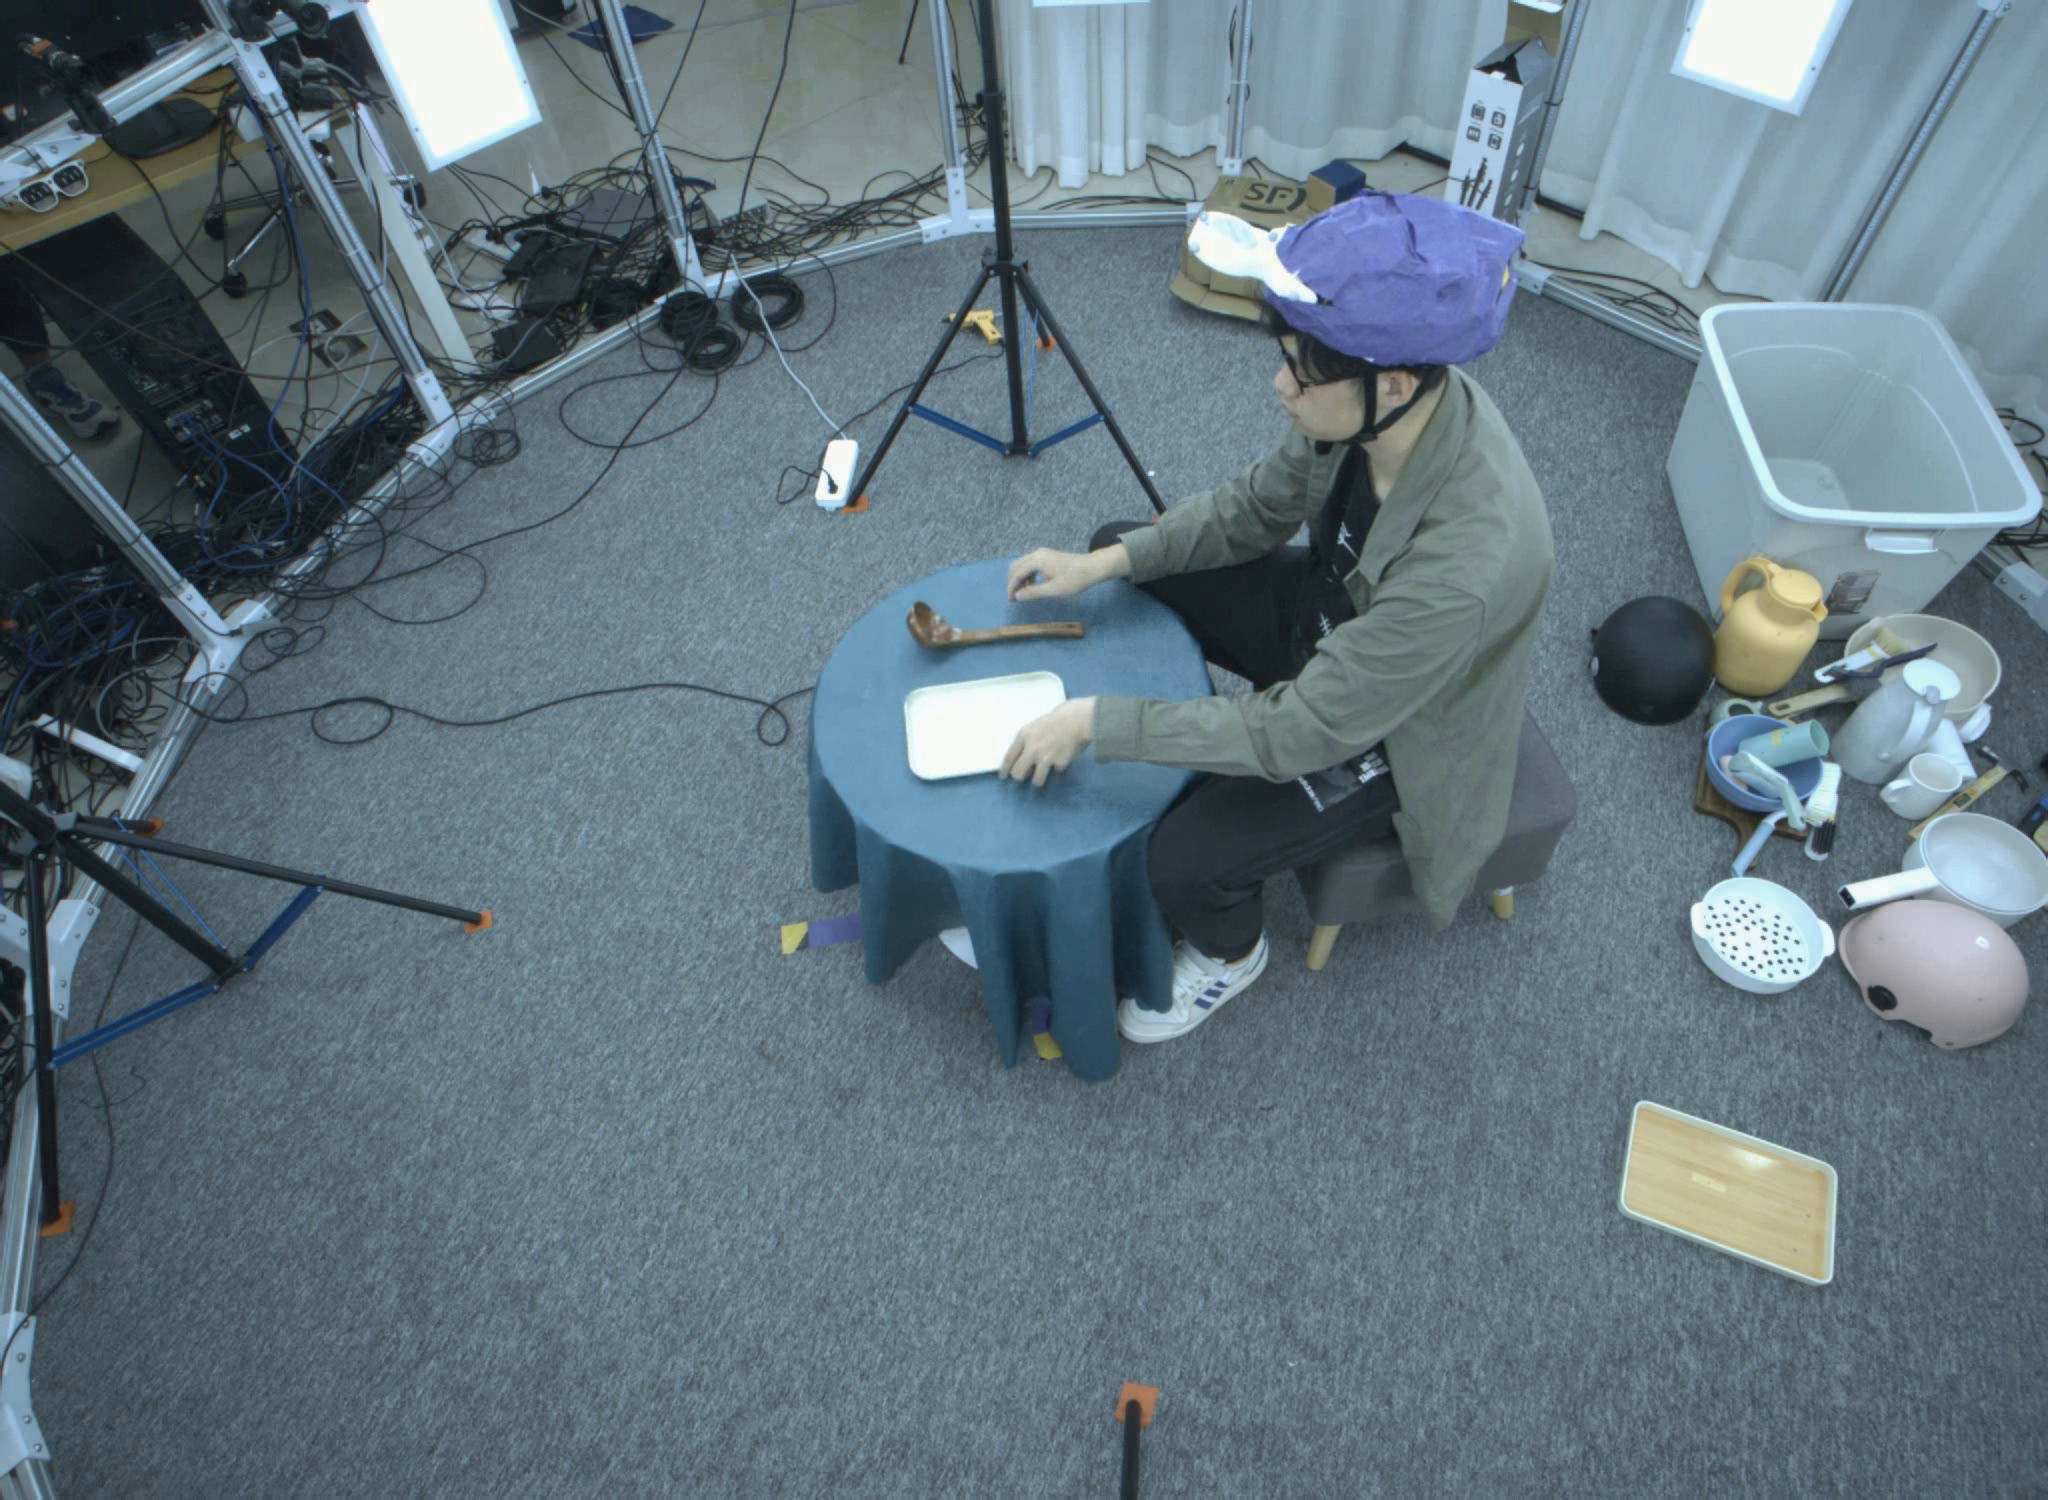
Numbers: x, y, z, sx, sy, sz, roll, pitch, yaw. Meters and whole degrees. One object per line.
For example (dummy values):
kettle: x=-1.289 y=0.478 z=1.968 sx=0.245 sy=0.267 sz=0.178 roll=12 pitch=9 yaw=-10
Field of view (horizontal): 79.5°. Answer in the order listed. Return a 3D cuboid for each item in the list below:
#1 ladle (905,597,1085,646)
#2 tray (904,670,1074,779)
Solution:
ladle: x=-0.045 y=-0.199 z=1.888 sx=0.274 sy=0.077 sz=0.081 roll=-2 pitch=50 yaw=0
tray: x=-0.053 y=-0.037 z=1.807 sx=0.240 sy=0.017 sz=0.169 roll=-8 pitch=54 yaw=-3
